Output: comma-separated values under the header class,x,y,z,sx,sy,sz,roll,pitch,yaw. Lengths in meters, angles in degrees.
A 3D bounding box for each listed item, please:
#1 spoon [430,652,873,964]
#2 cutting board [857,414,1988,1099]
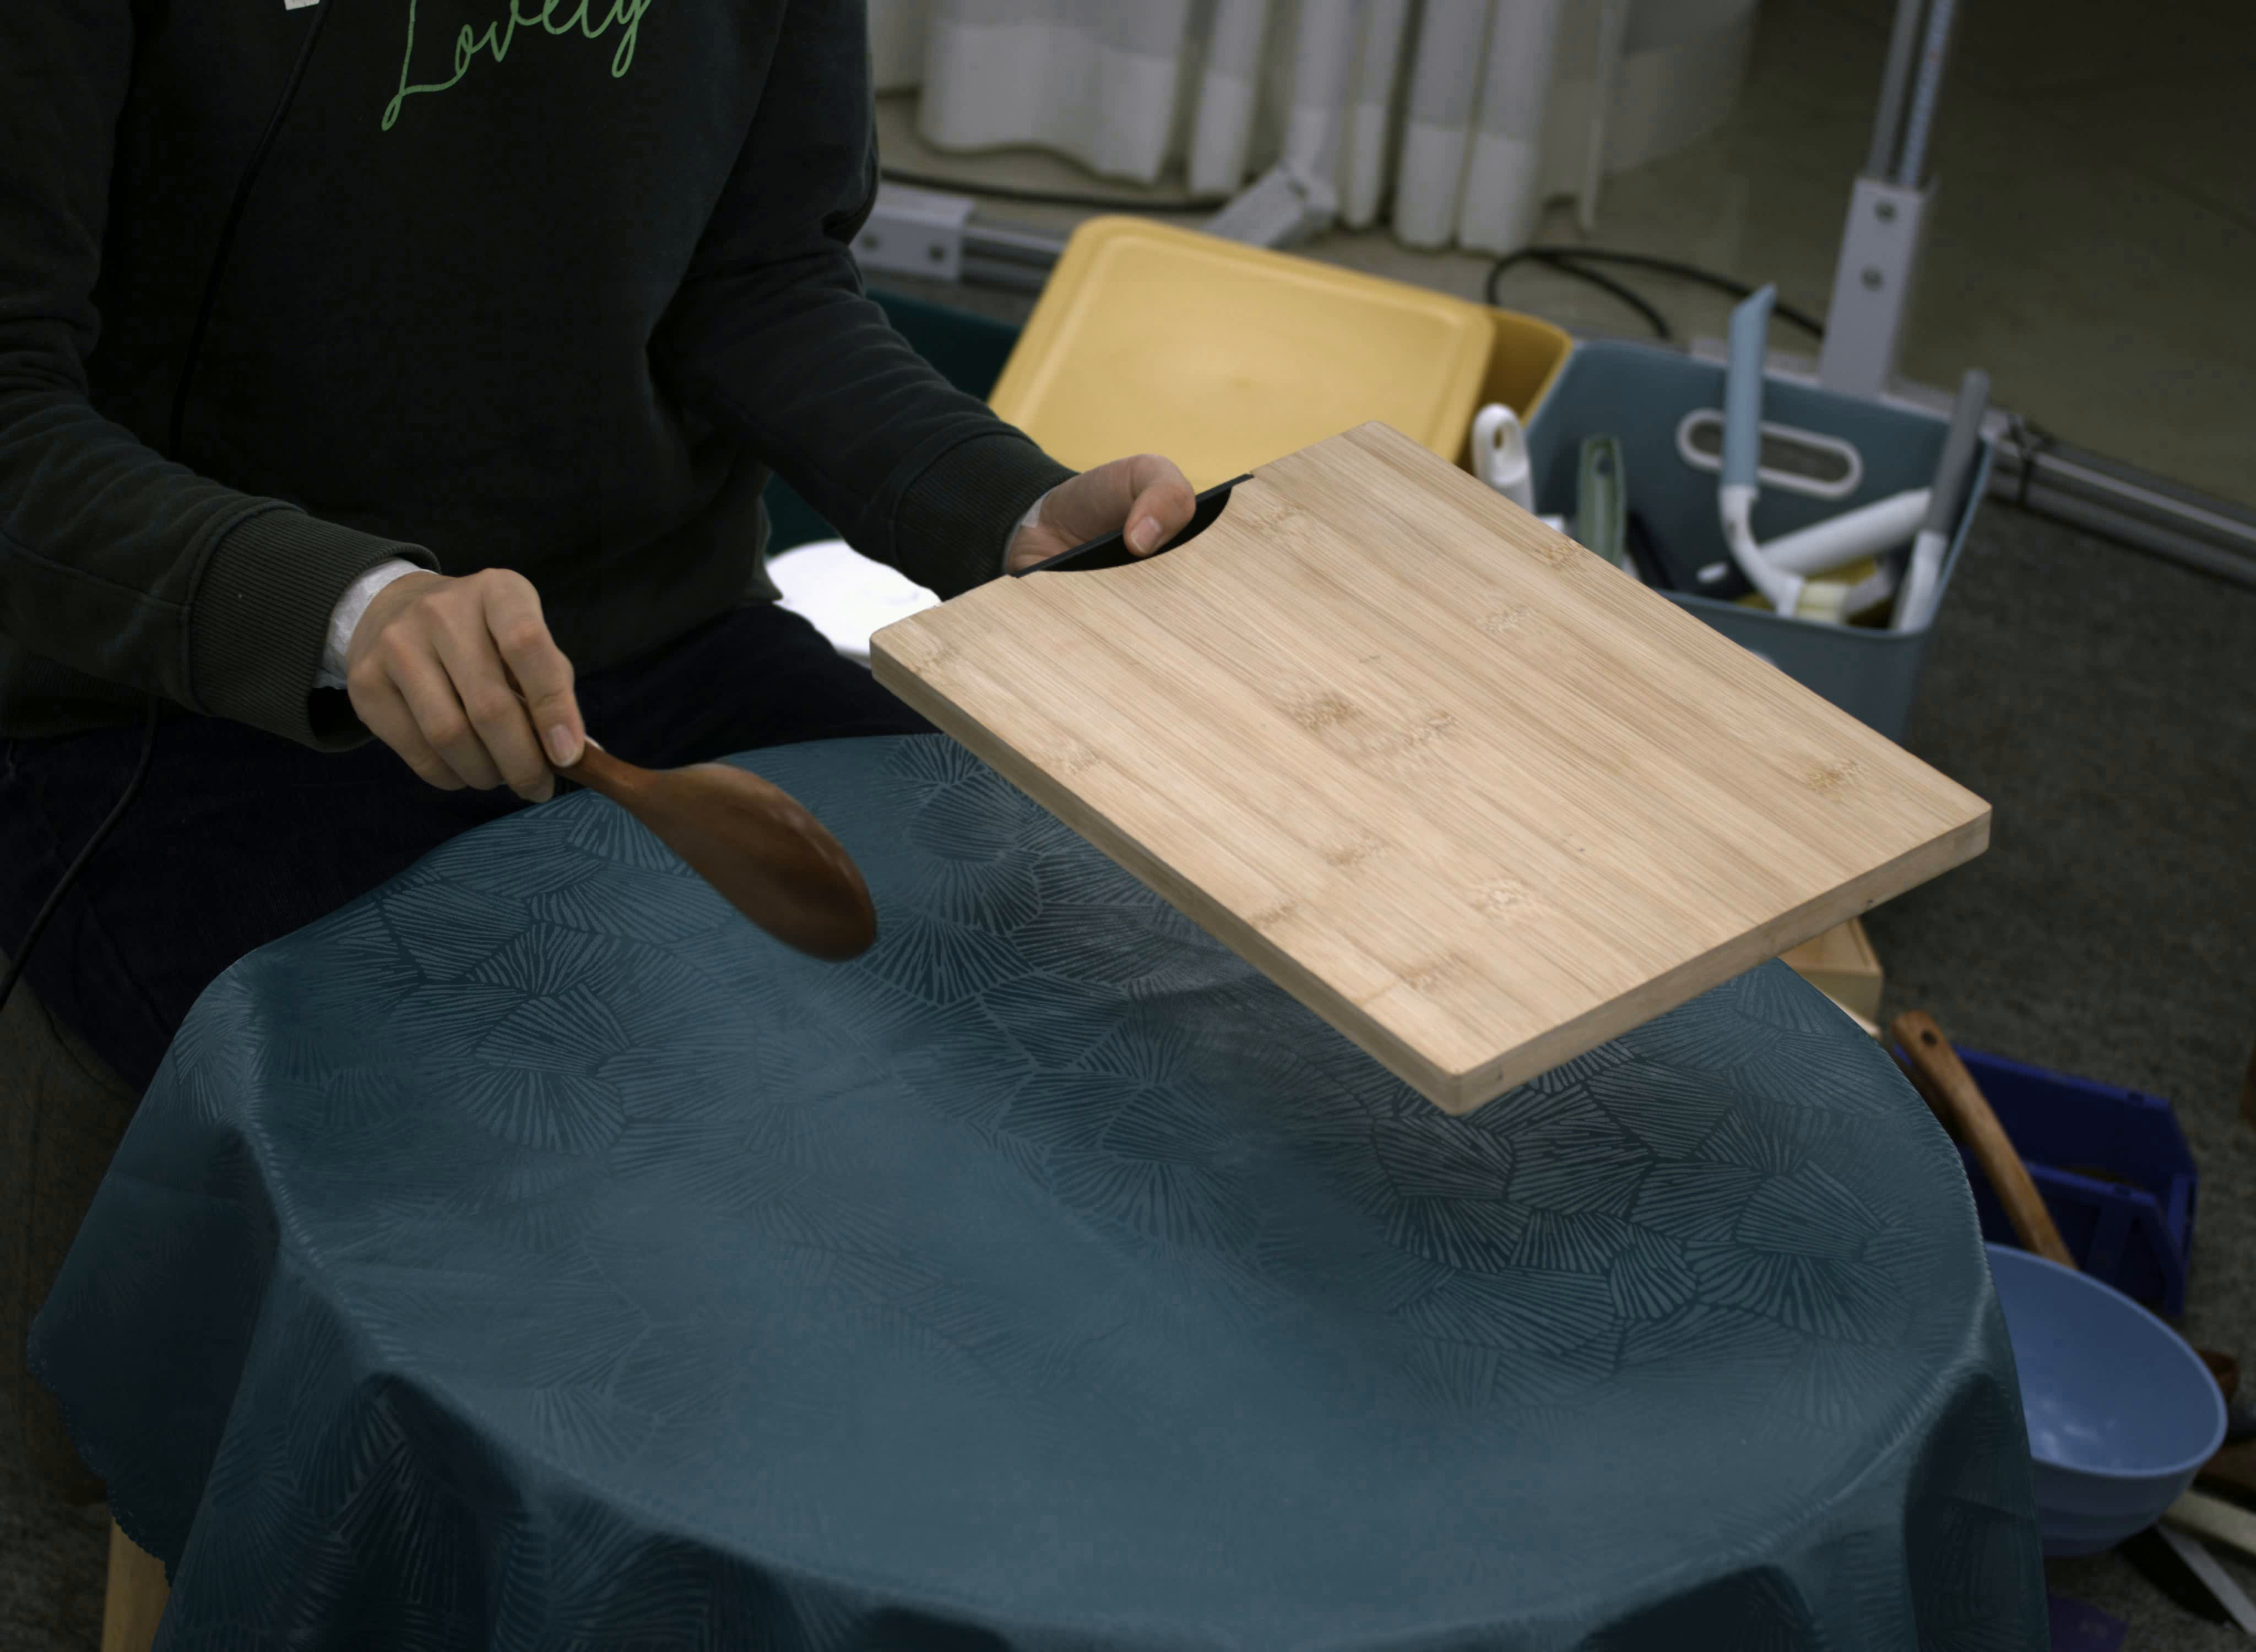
class,x,y,z,sx,sy,sz,roll,pitch,yaw
spoon,-0.160,-0.010,1.743,0.017,0.075,0.217,-40,46,-24
cutting board,0.097,-0.033,1.886,0.250,0.023,0.351,-24,40,-29
